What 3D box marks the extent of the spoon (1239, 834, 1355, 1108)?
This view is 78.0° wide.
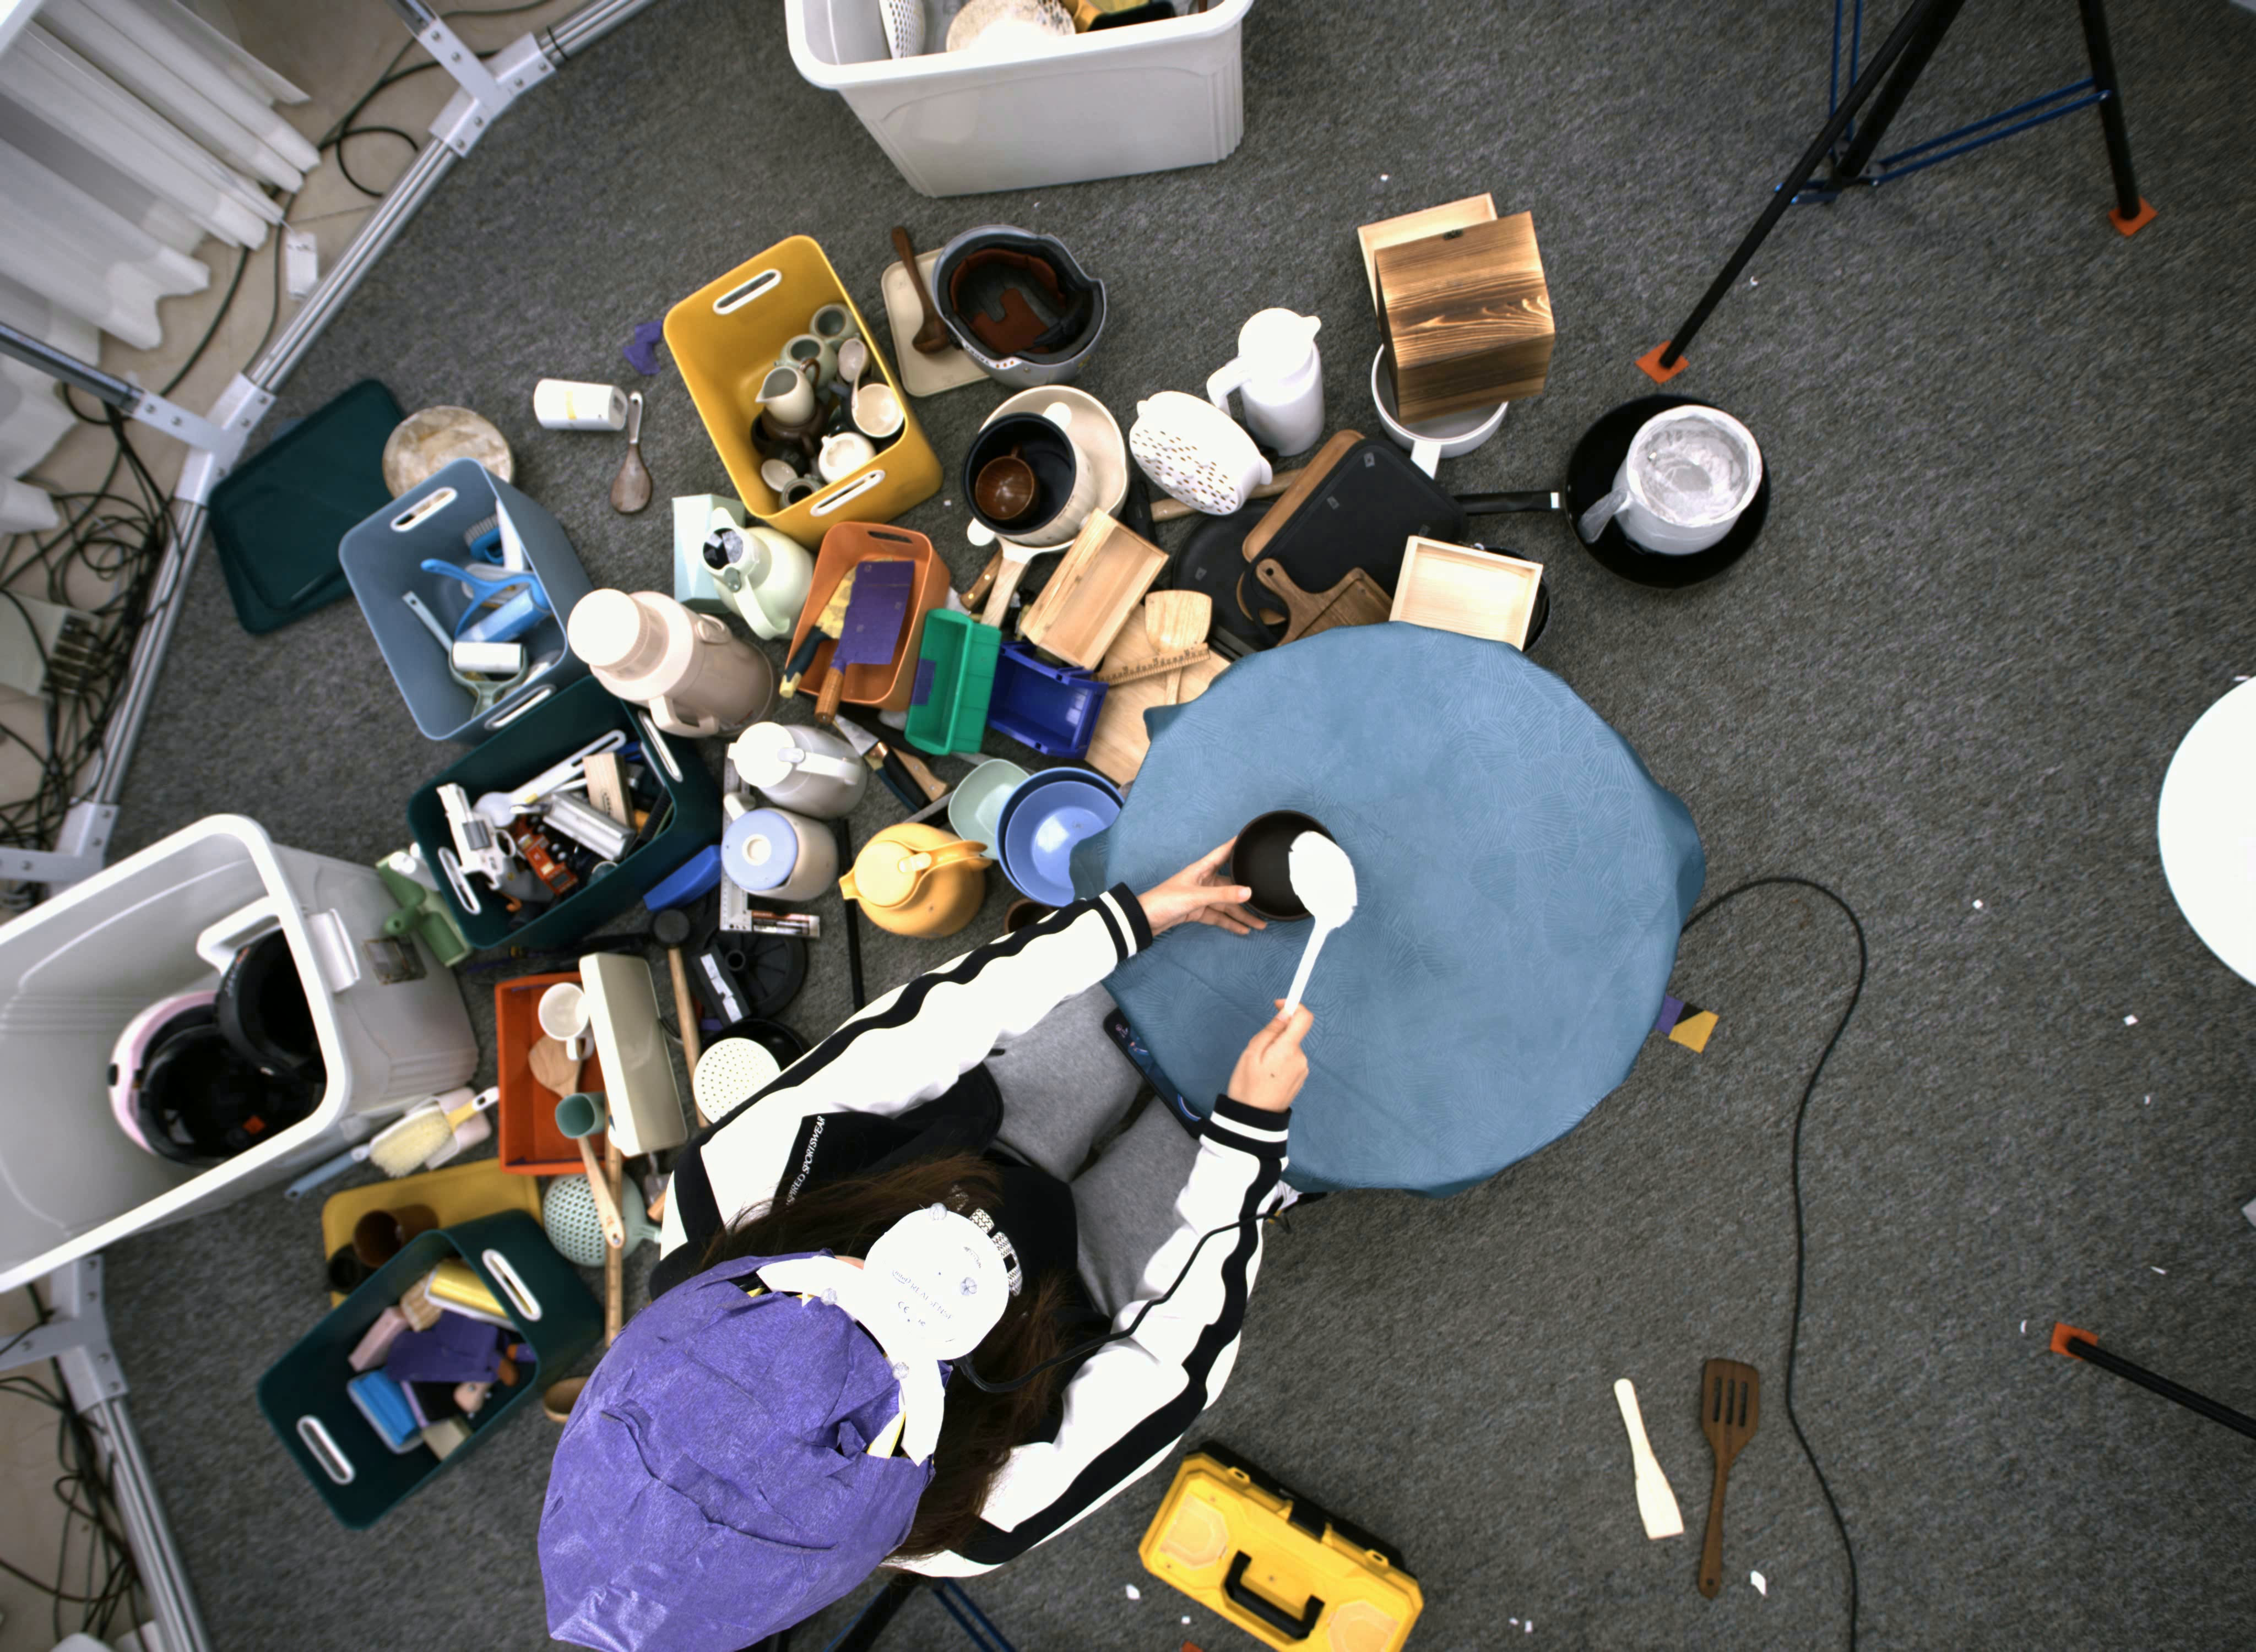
[{"bbox_3d":[0.145,0.141,1.333,0.100,0.059,0.279,37,106,54],"label":"spoon"}]

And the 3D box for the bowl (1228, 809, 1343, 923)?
[{"bbox_3d":[0.165,0.043,1.444,0.118,0.070,0.117,-1,86,11],"label":"bowl"}]
